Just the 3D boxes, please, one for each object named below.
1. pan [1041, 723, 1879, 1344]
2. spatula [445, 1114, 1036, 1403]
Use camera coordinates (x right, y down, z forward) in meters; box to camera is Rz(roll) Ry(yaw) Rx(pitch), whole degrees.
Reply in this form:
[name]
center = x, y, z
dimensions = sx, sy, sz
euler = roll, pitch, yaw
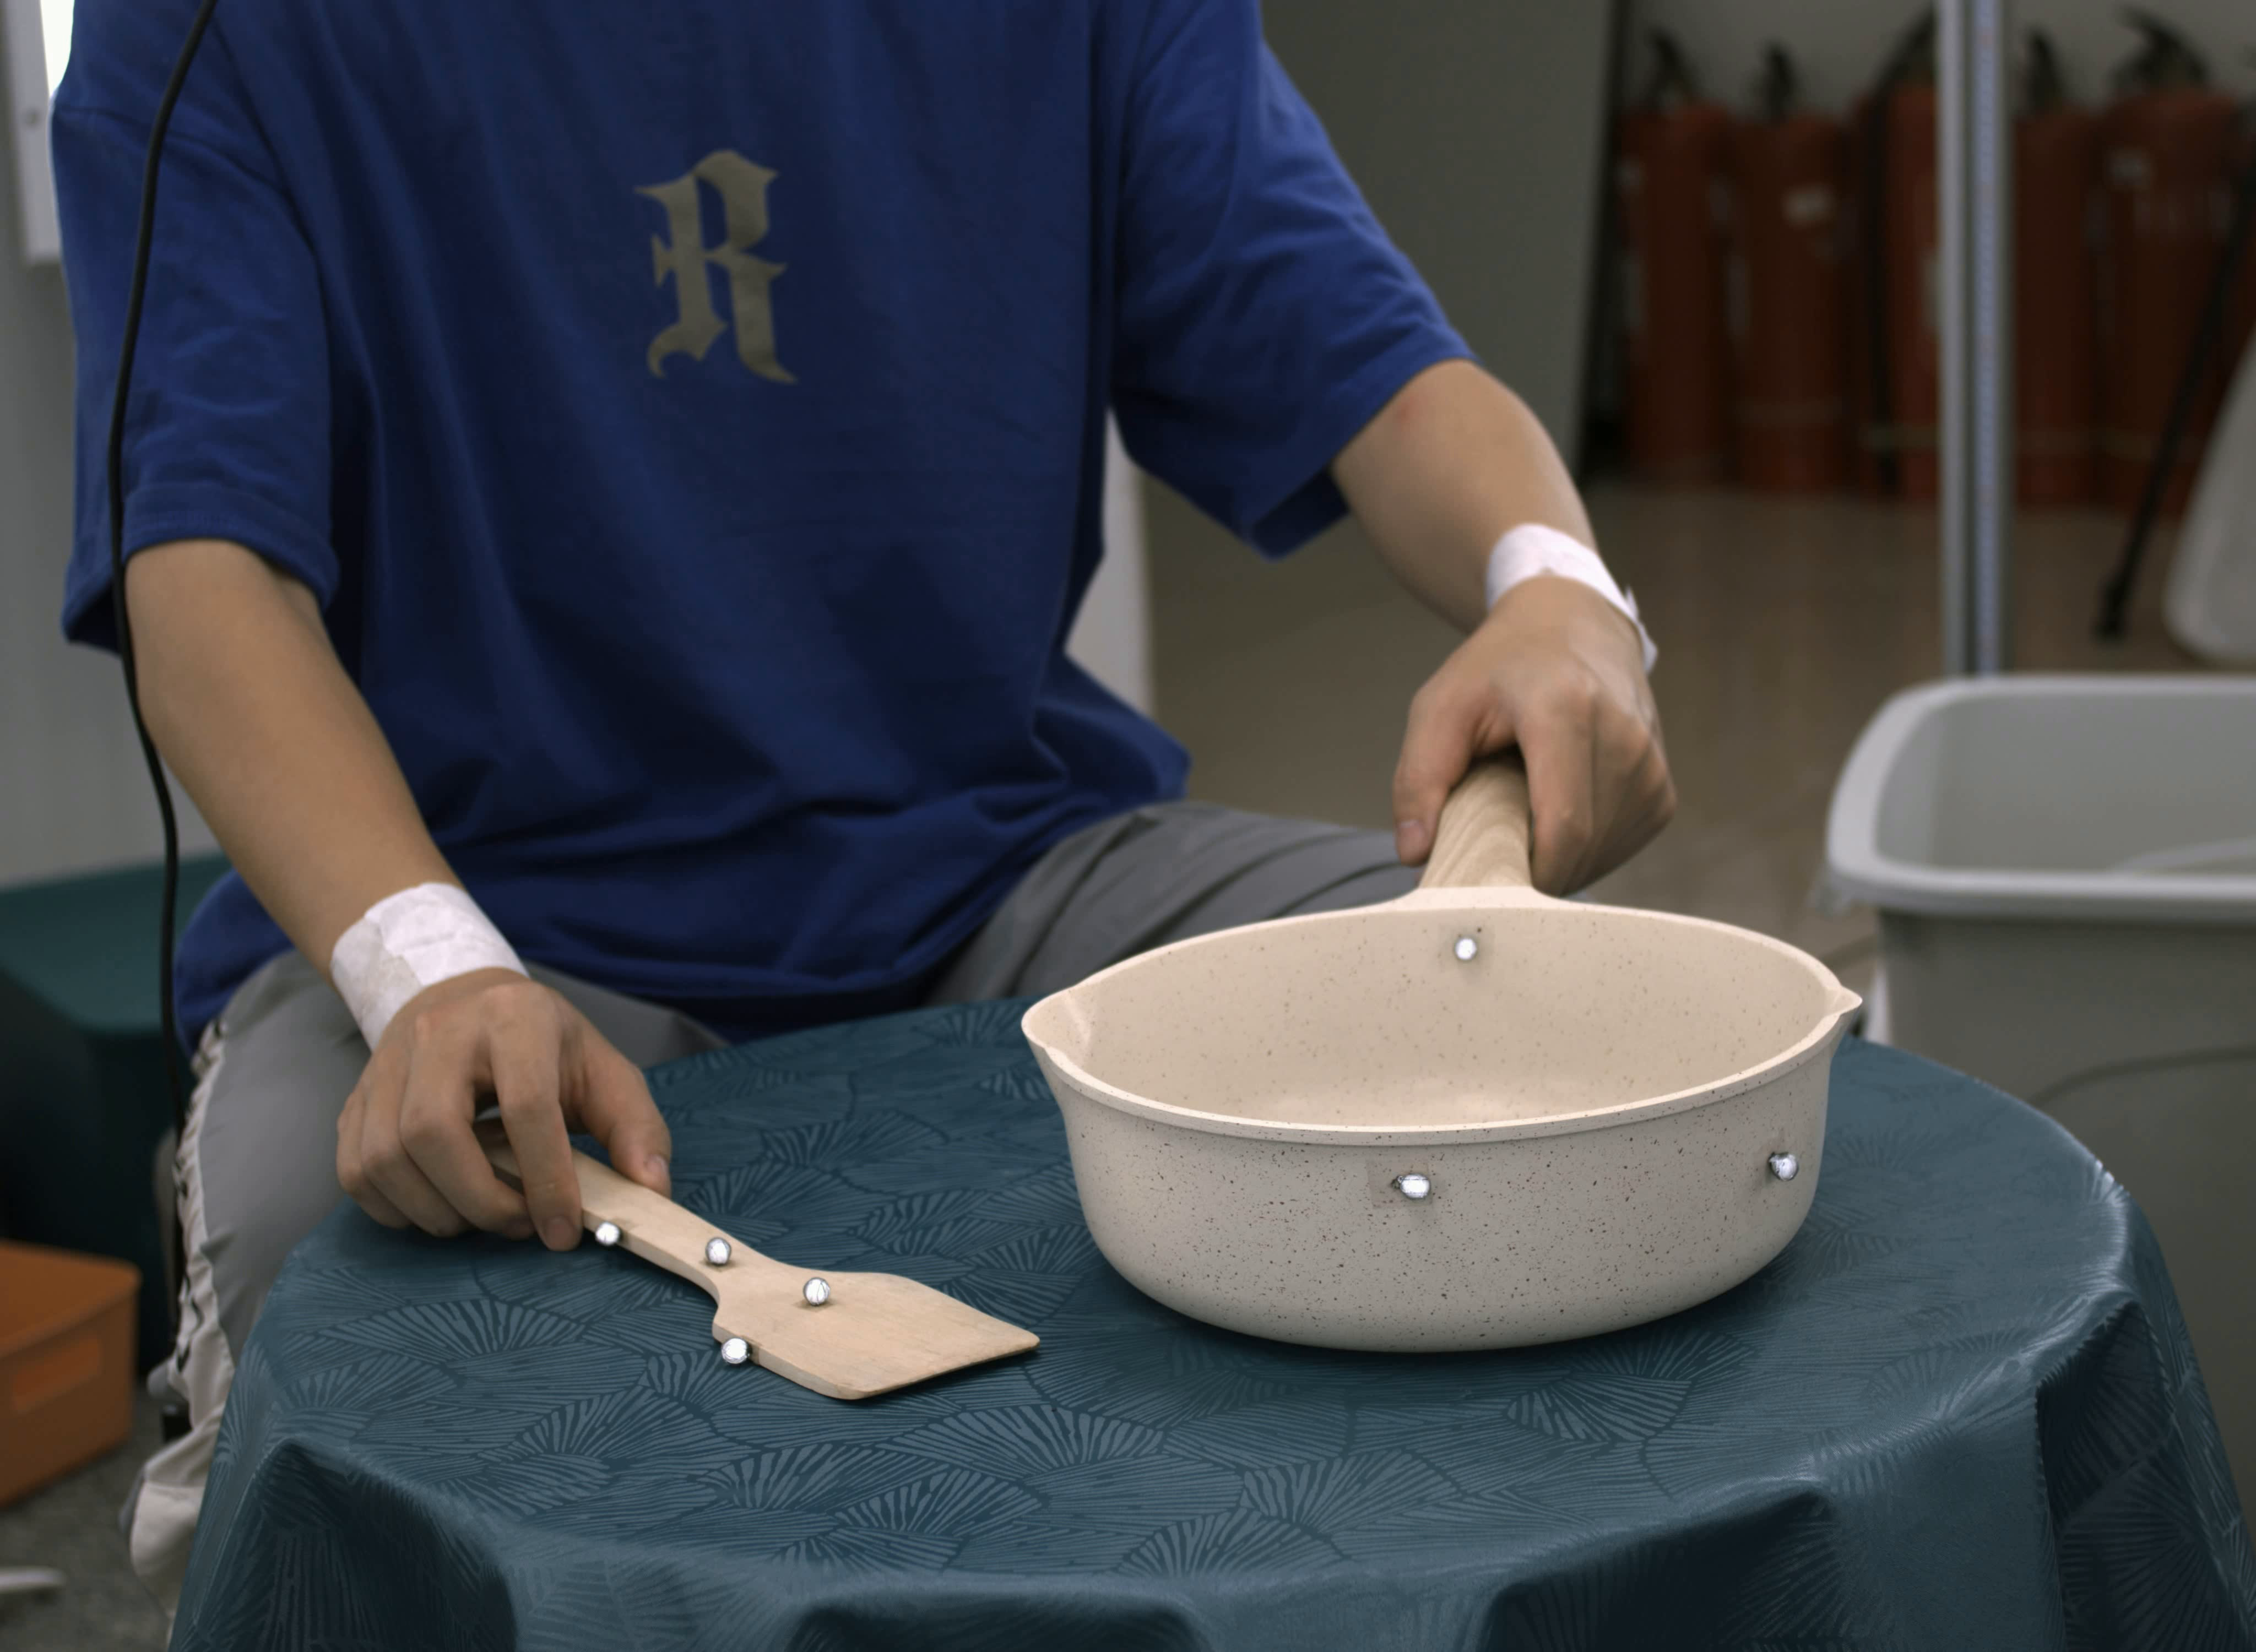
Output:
[pan]
center = 0.115, 0.064, 1.763
dimensions = 0.261, 0.103, 0.434
euler = -4, 13, 8
[spatula]
center = -0.138, 0.134, 1.720
dimensions = 0.071, 0.011, 0.296
euler = -14, 20, -33
